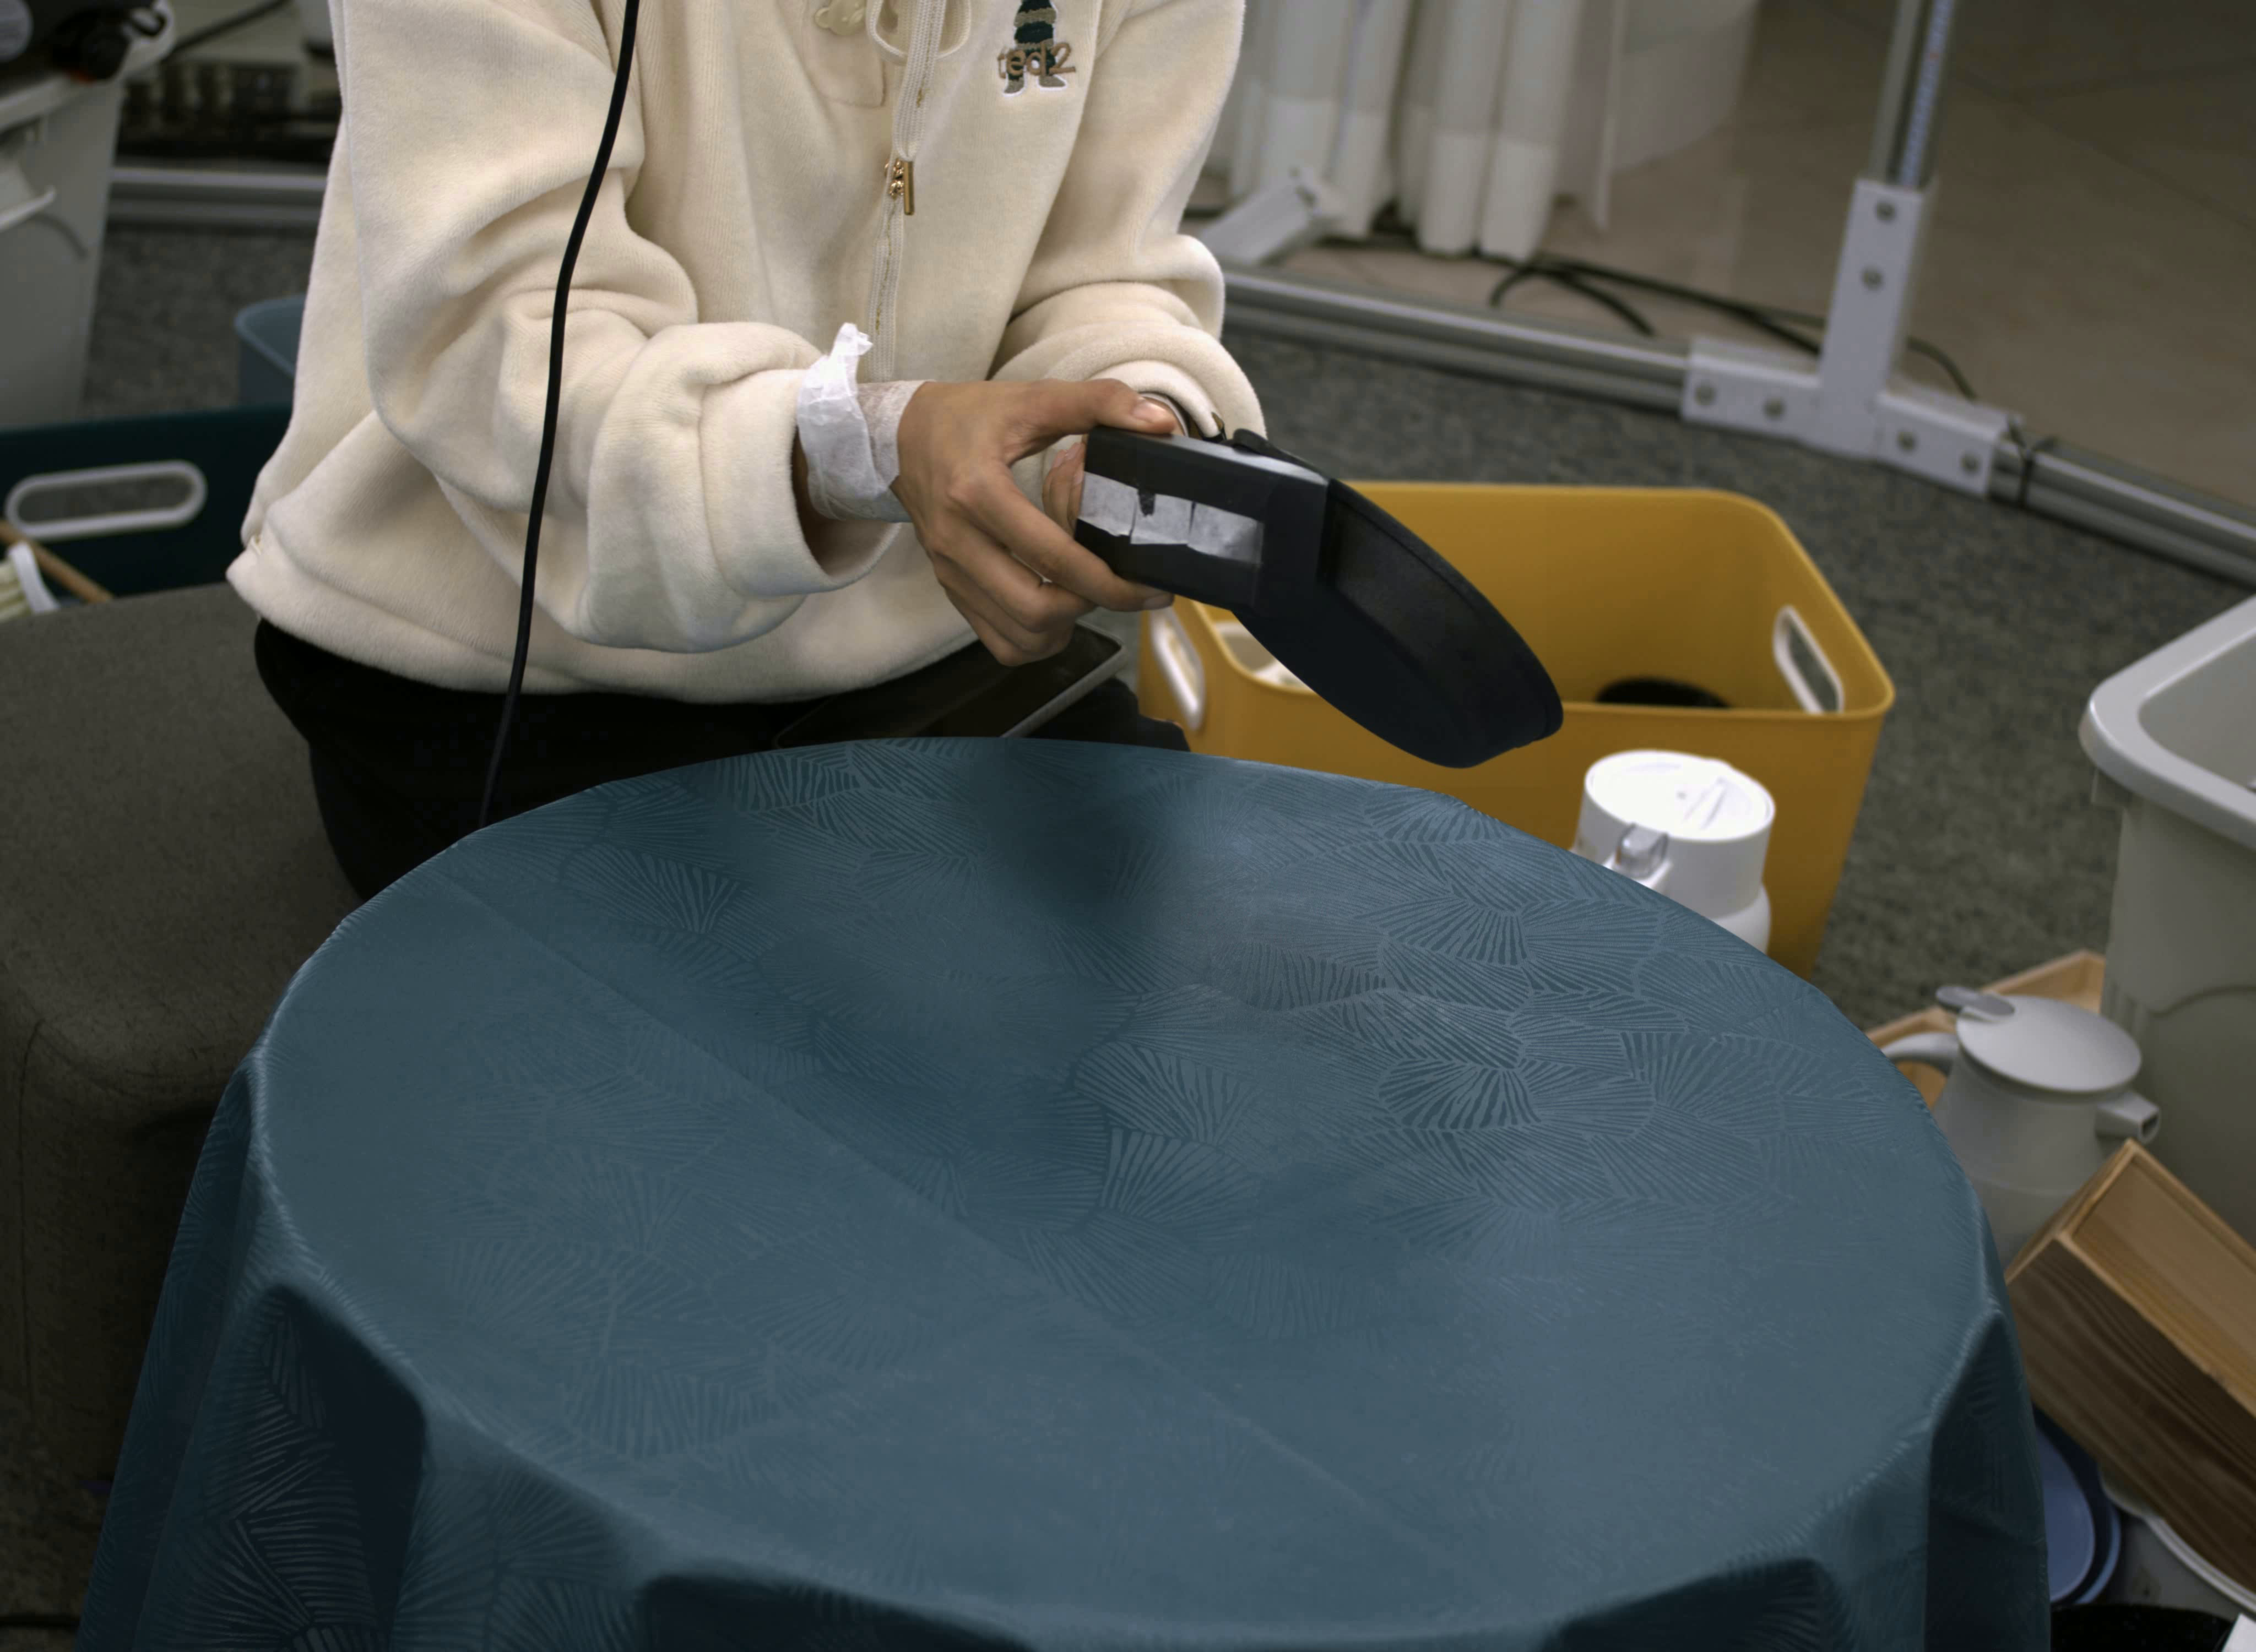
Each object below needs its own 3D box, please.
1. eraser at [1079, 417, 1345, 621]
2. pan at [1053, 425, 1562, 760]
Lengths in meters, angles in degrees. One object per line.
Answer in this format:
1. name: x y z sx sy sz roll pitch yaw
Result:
1. eraser: 0.028 -0.106 1.839 0.030 0.053 0.126 5 9 -31
2. pan: 0.047 -0.095 1.962 0.049 0.167 0.326 -50 27 -10
